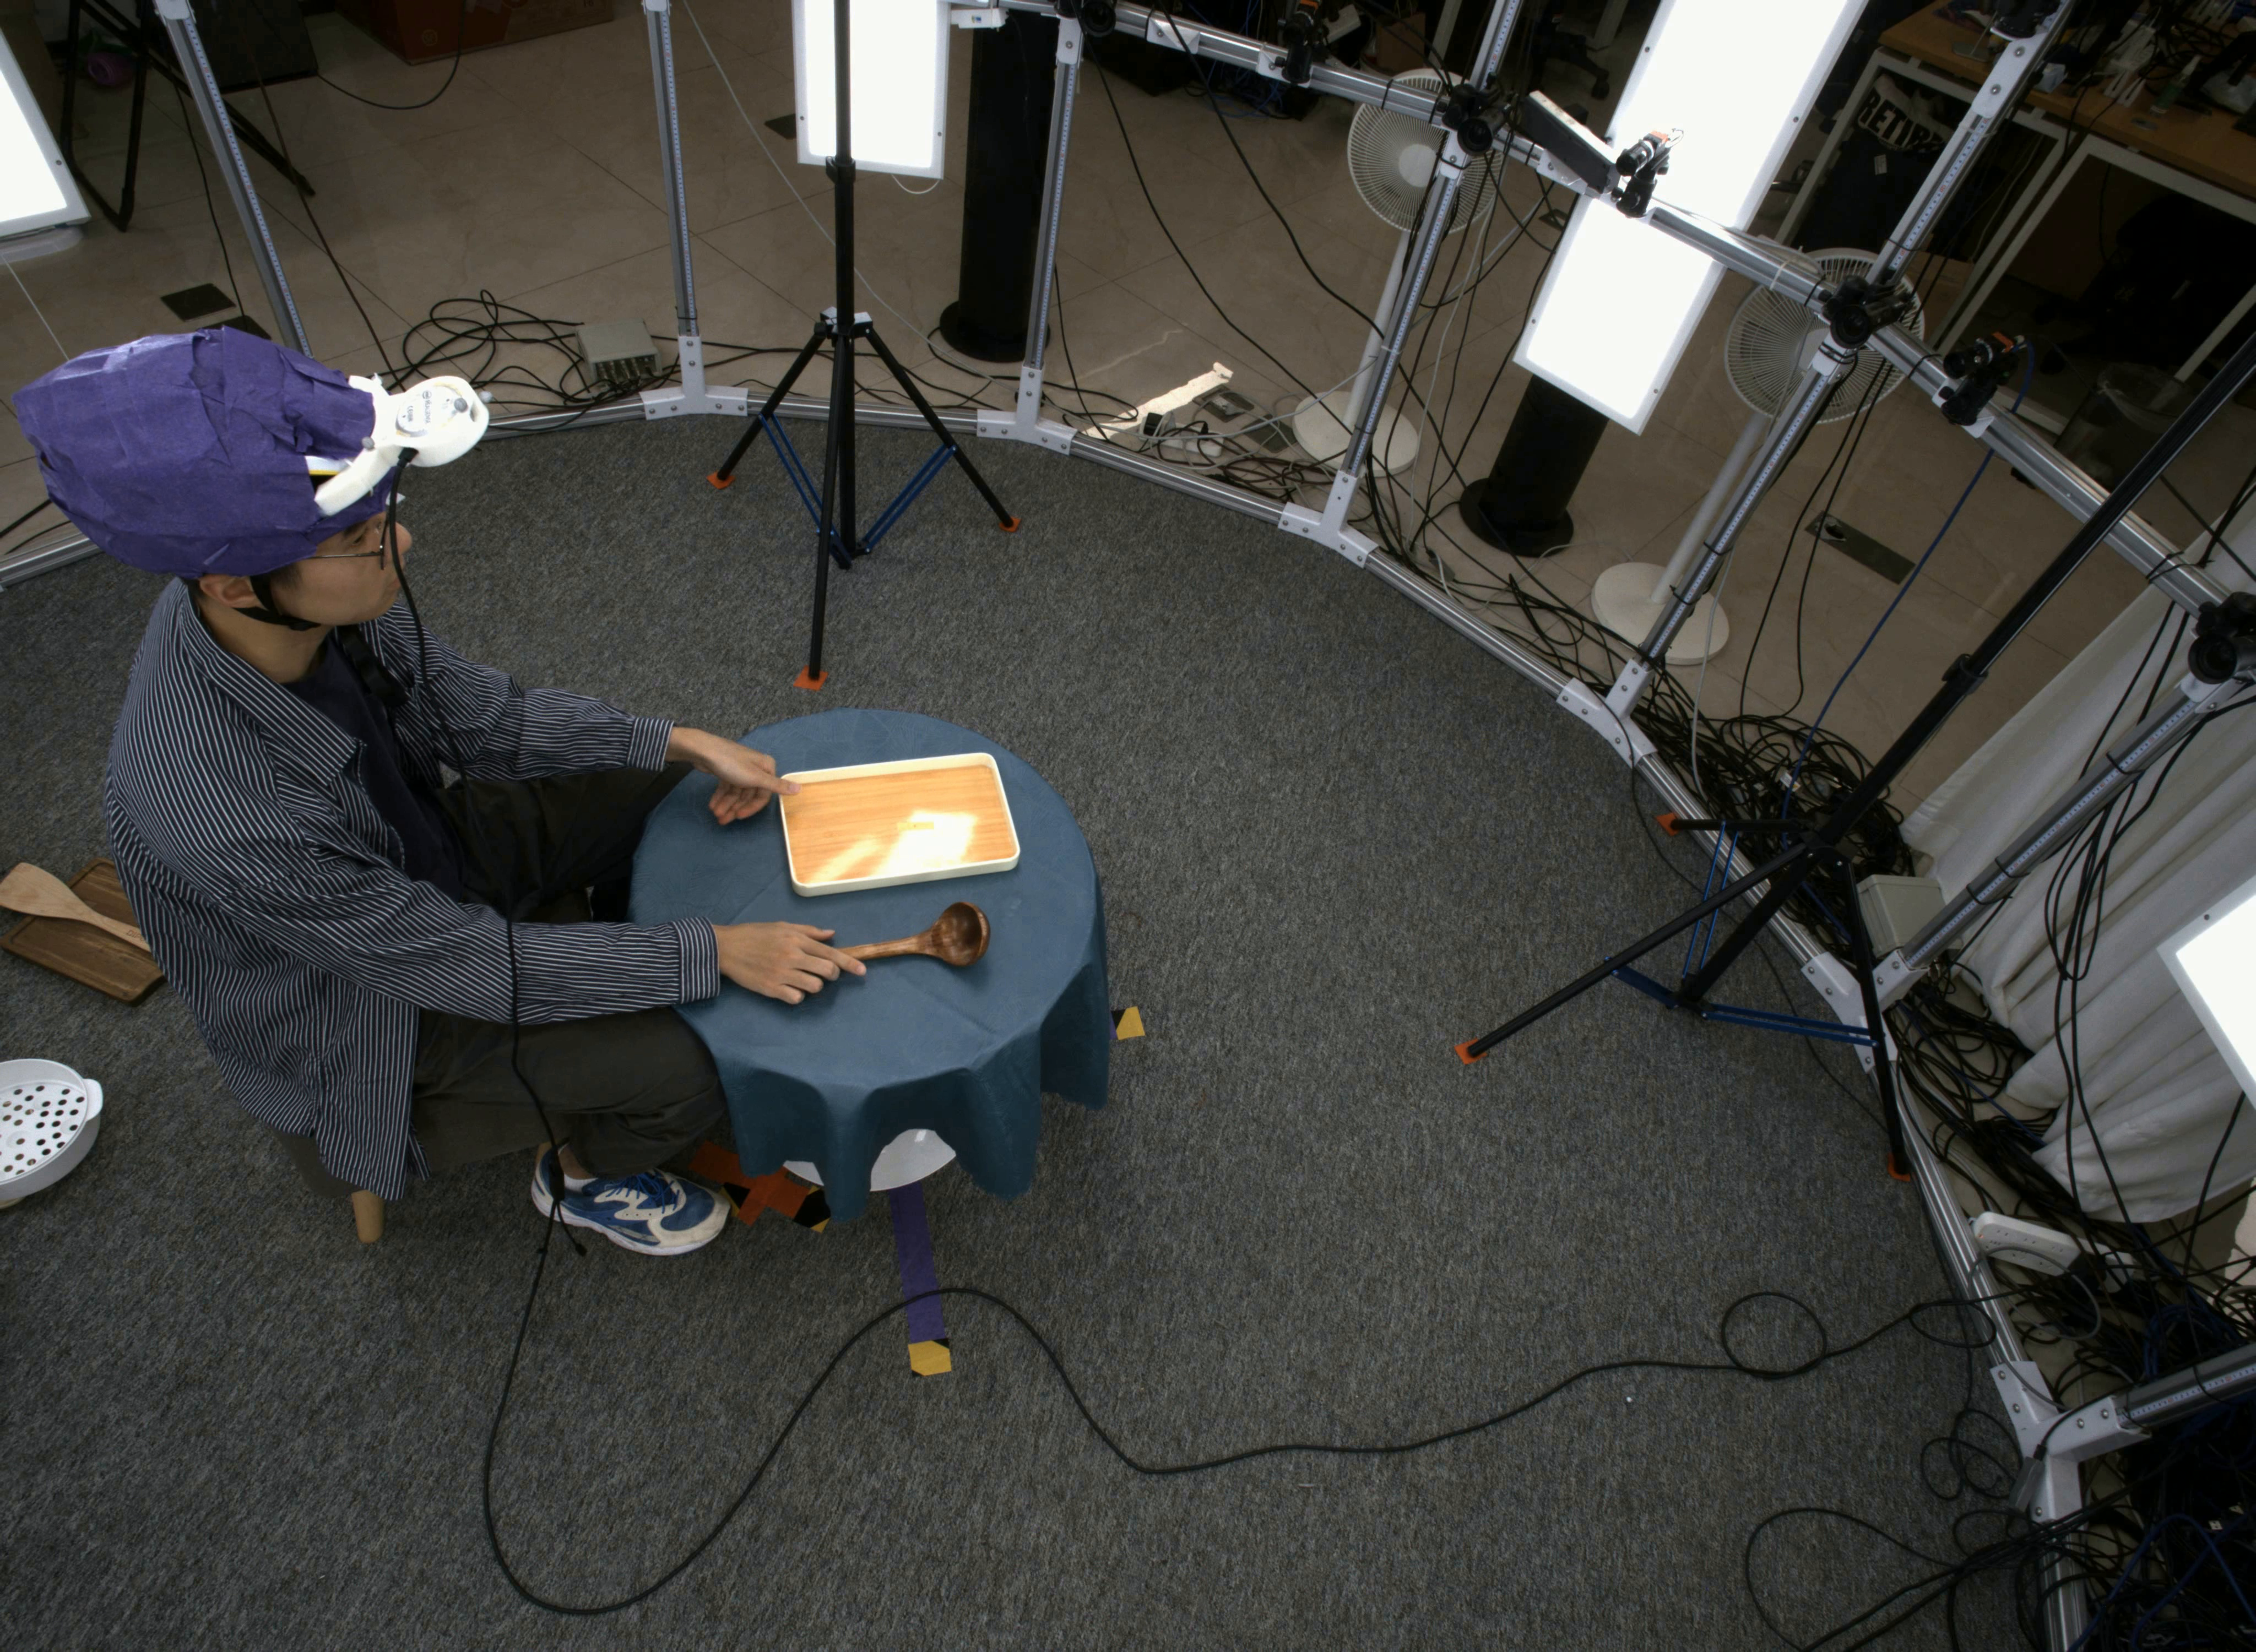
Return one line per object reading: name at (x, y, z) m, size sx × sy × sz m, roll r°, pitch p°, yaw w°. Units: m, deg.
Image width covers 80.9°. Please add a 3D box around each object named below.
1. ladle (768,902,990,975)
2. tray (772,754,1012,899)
ladle at (-0.307, 0.149, 1.611) m, size 0.275 × 0.077 × 0.081 m, roll -6°, pitch 72°, yaw -18°
tray at (-0.318, -0.003, 1.753) m, size 0.301 × 0.028 × 0.187 m, roll -7°, pitch 56°, yaw -18°
